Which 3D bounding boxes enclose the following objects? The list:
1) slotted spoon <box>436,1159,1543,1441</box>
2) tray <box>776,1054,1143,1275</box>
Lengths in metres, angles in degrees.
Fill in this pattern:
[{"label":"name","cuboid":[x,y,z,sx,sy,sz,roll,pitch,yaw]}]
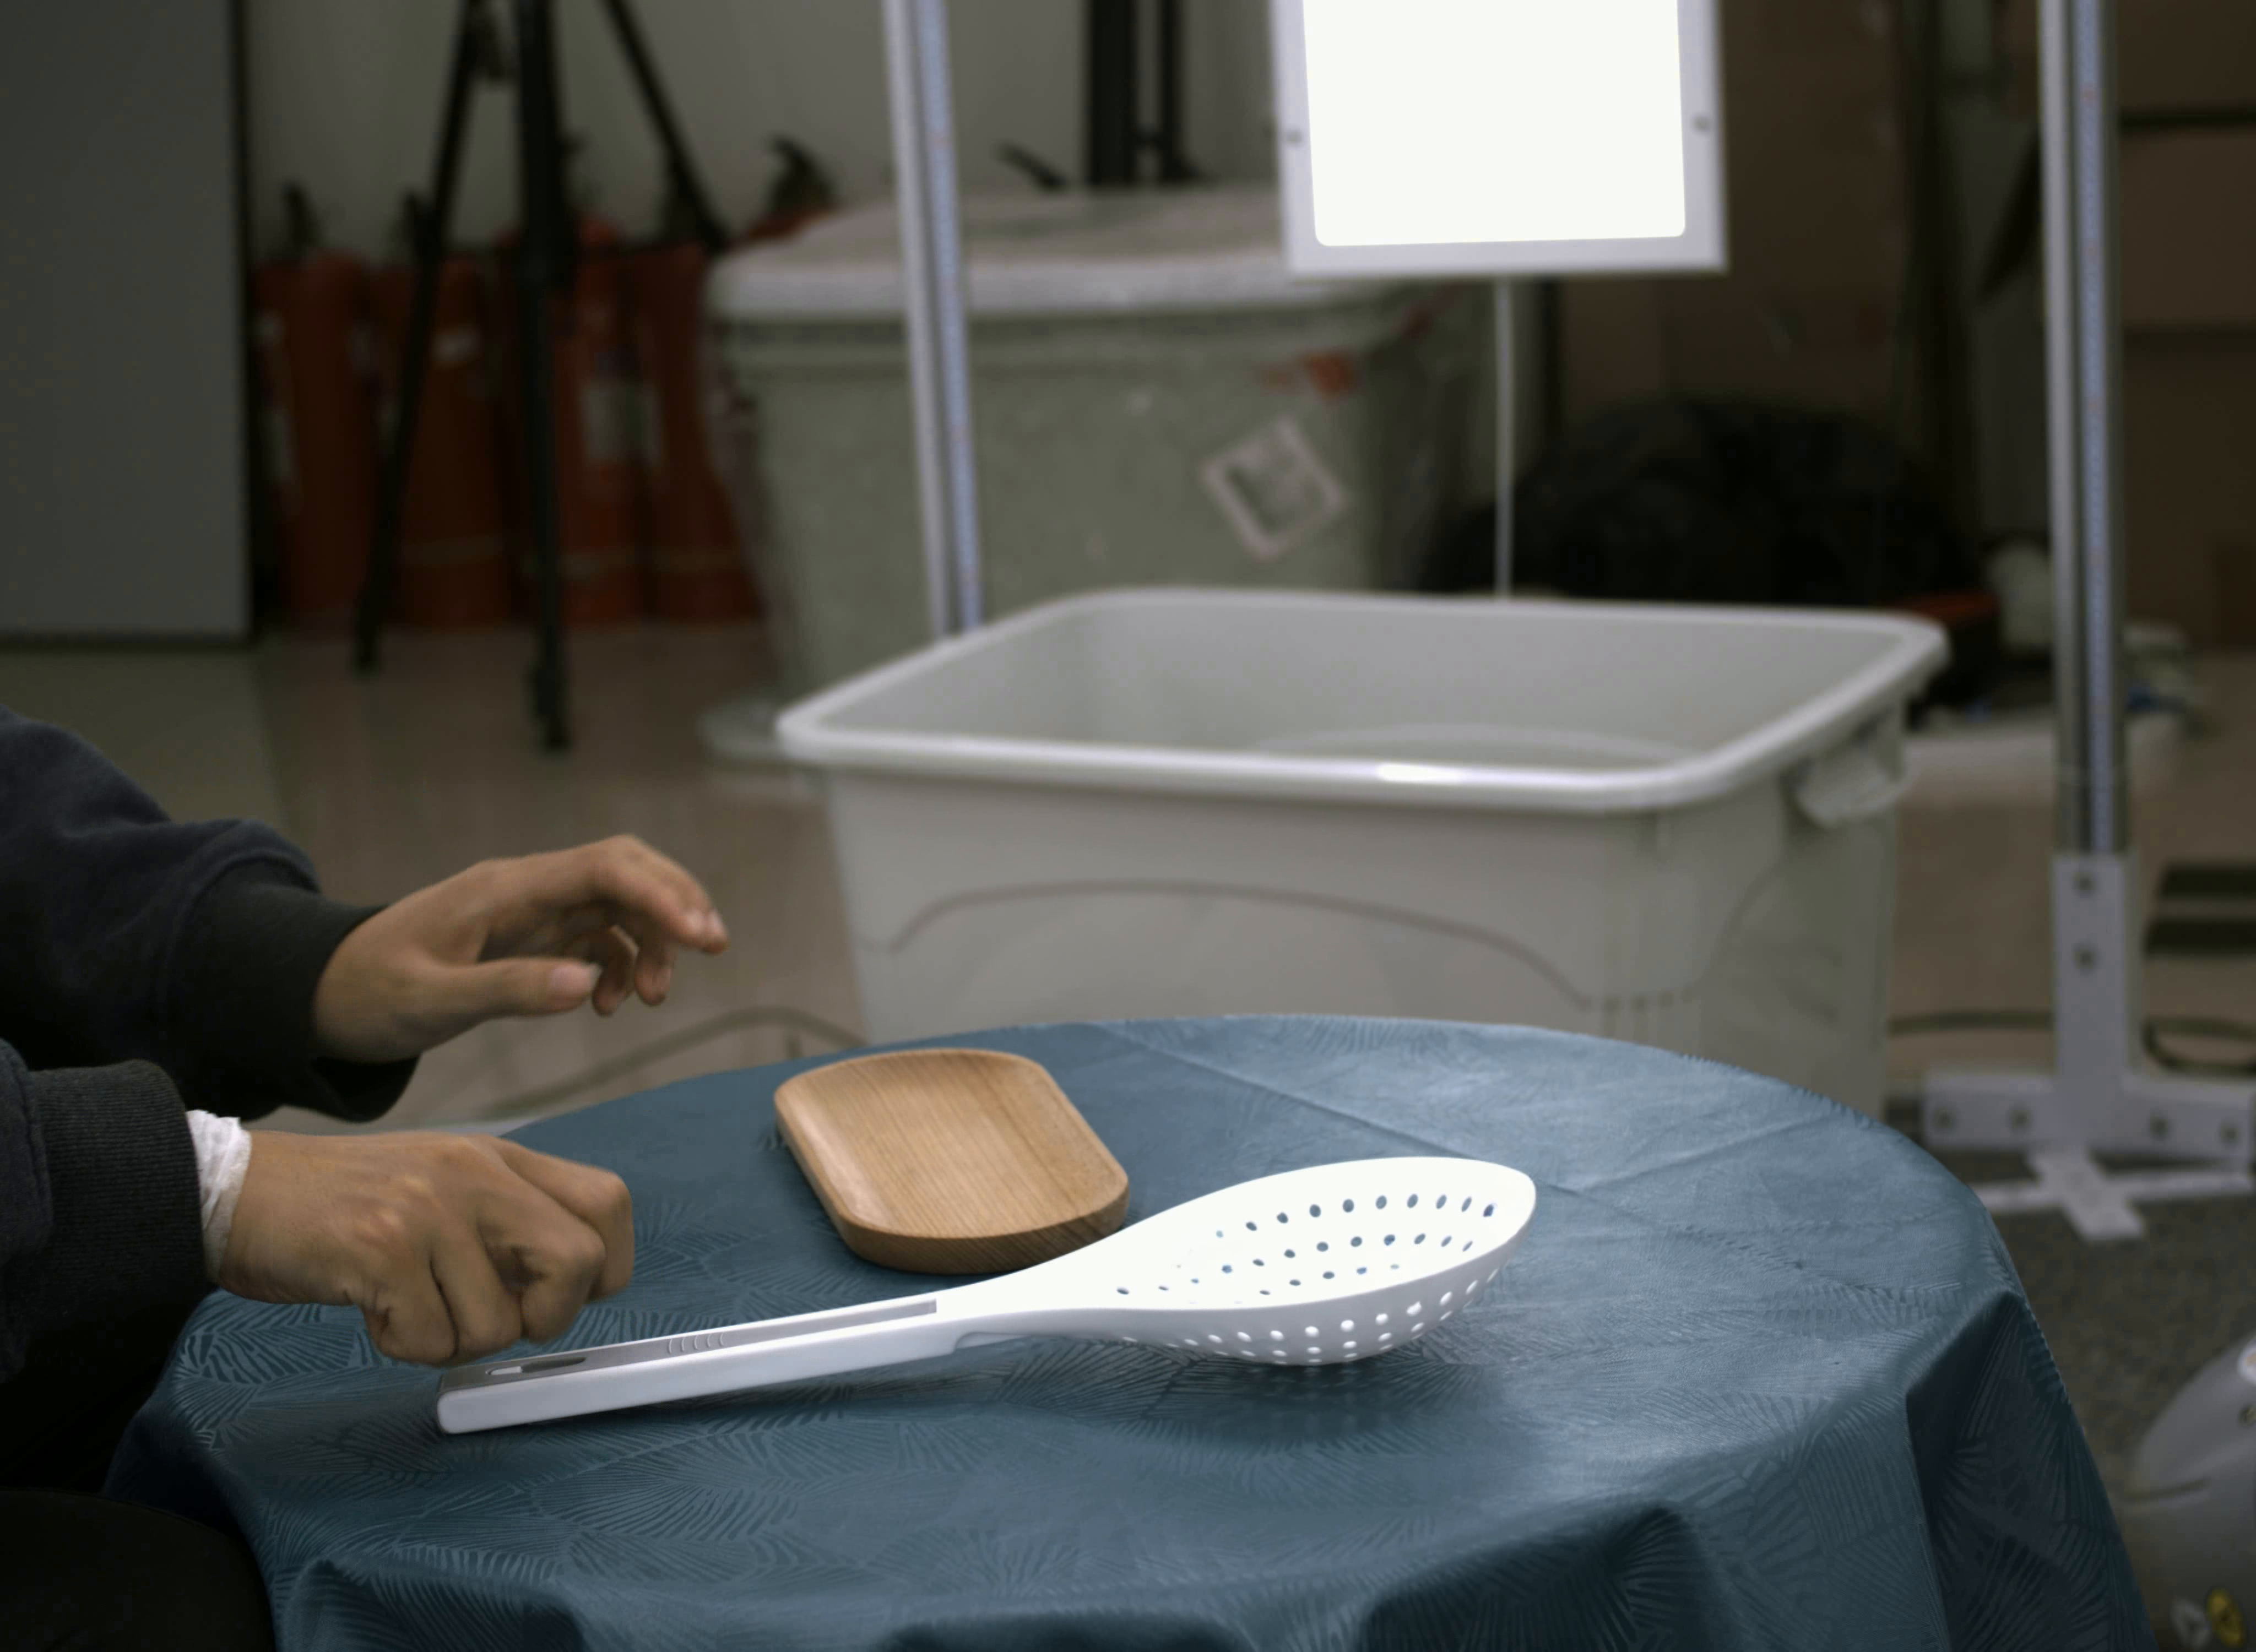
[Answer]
[{"label":"slotted spoon","cuboid":[-0.043,0.151,1.715,0.349,0.046,0.136,-6,12,1]},{"label":"tray","cuboid":[-0.061,0.117,1.926,0.100,0.020,0.233,-9,15,-11]}]
